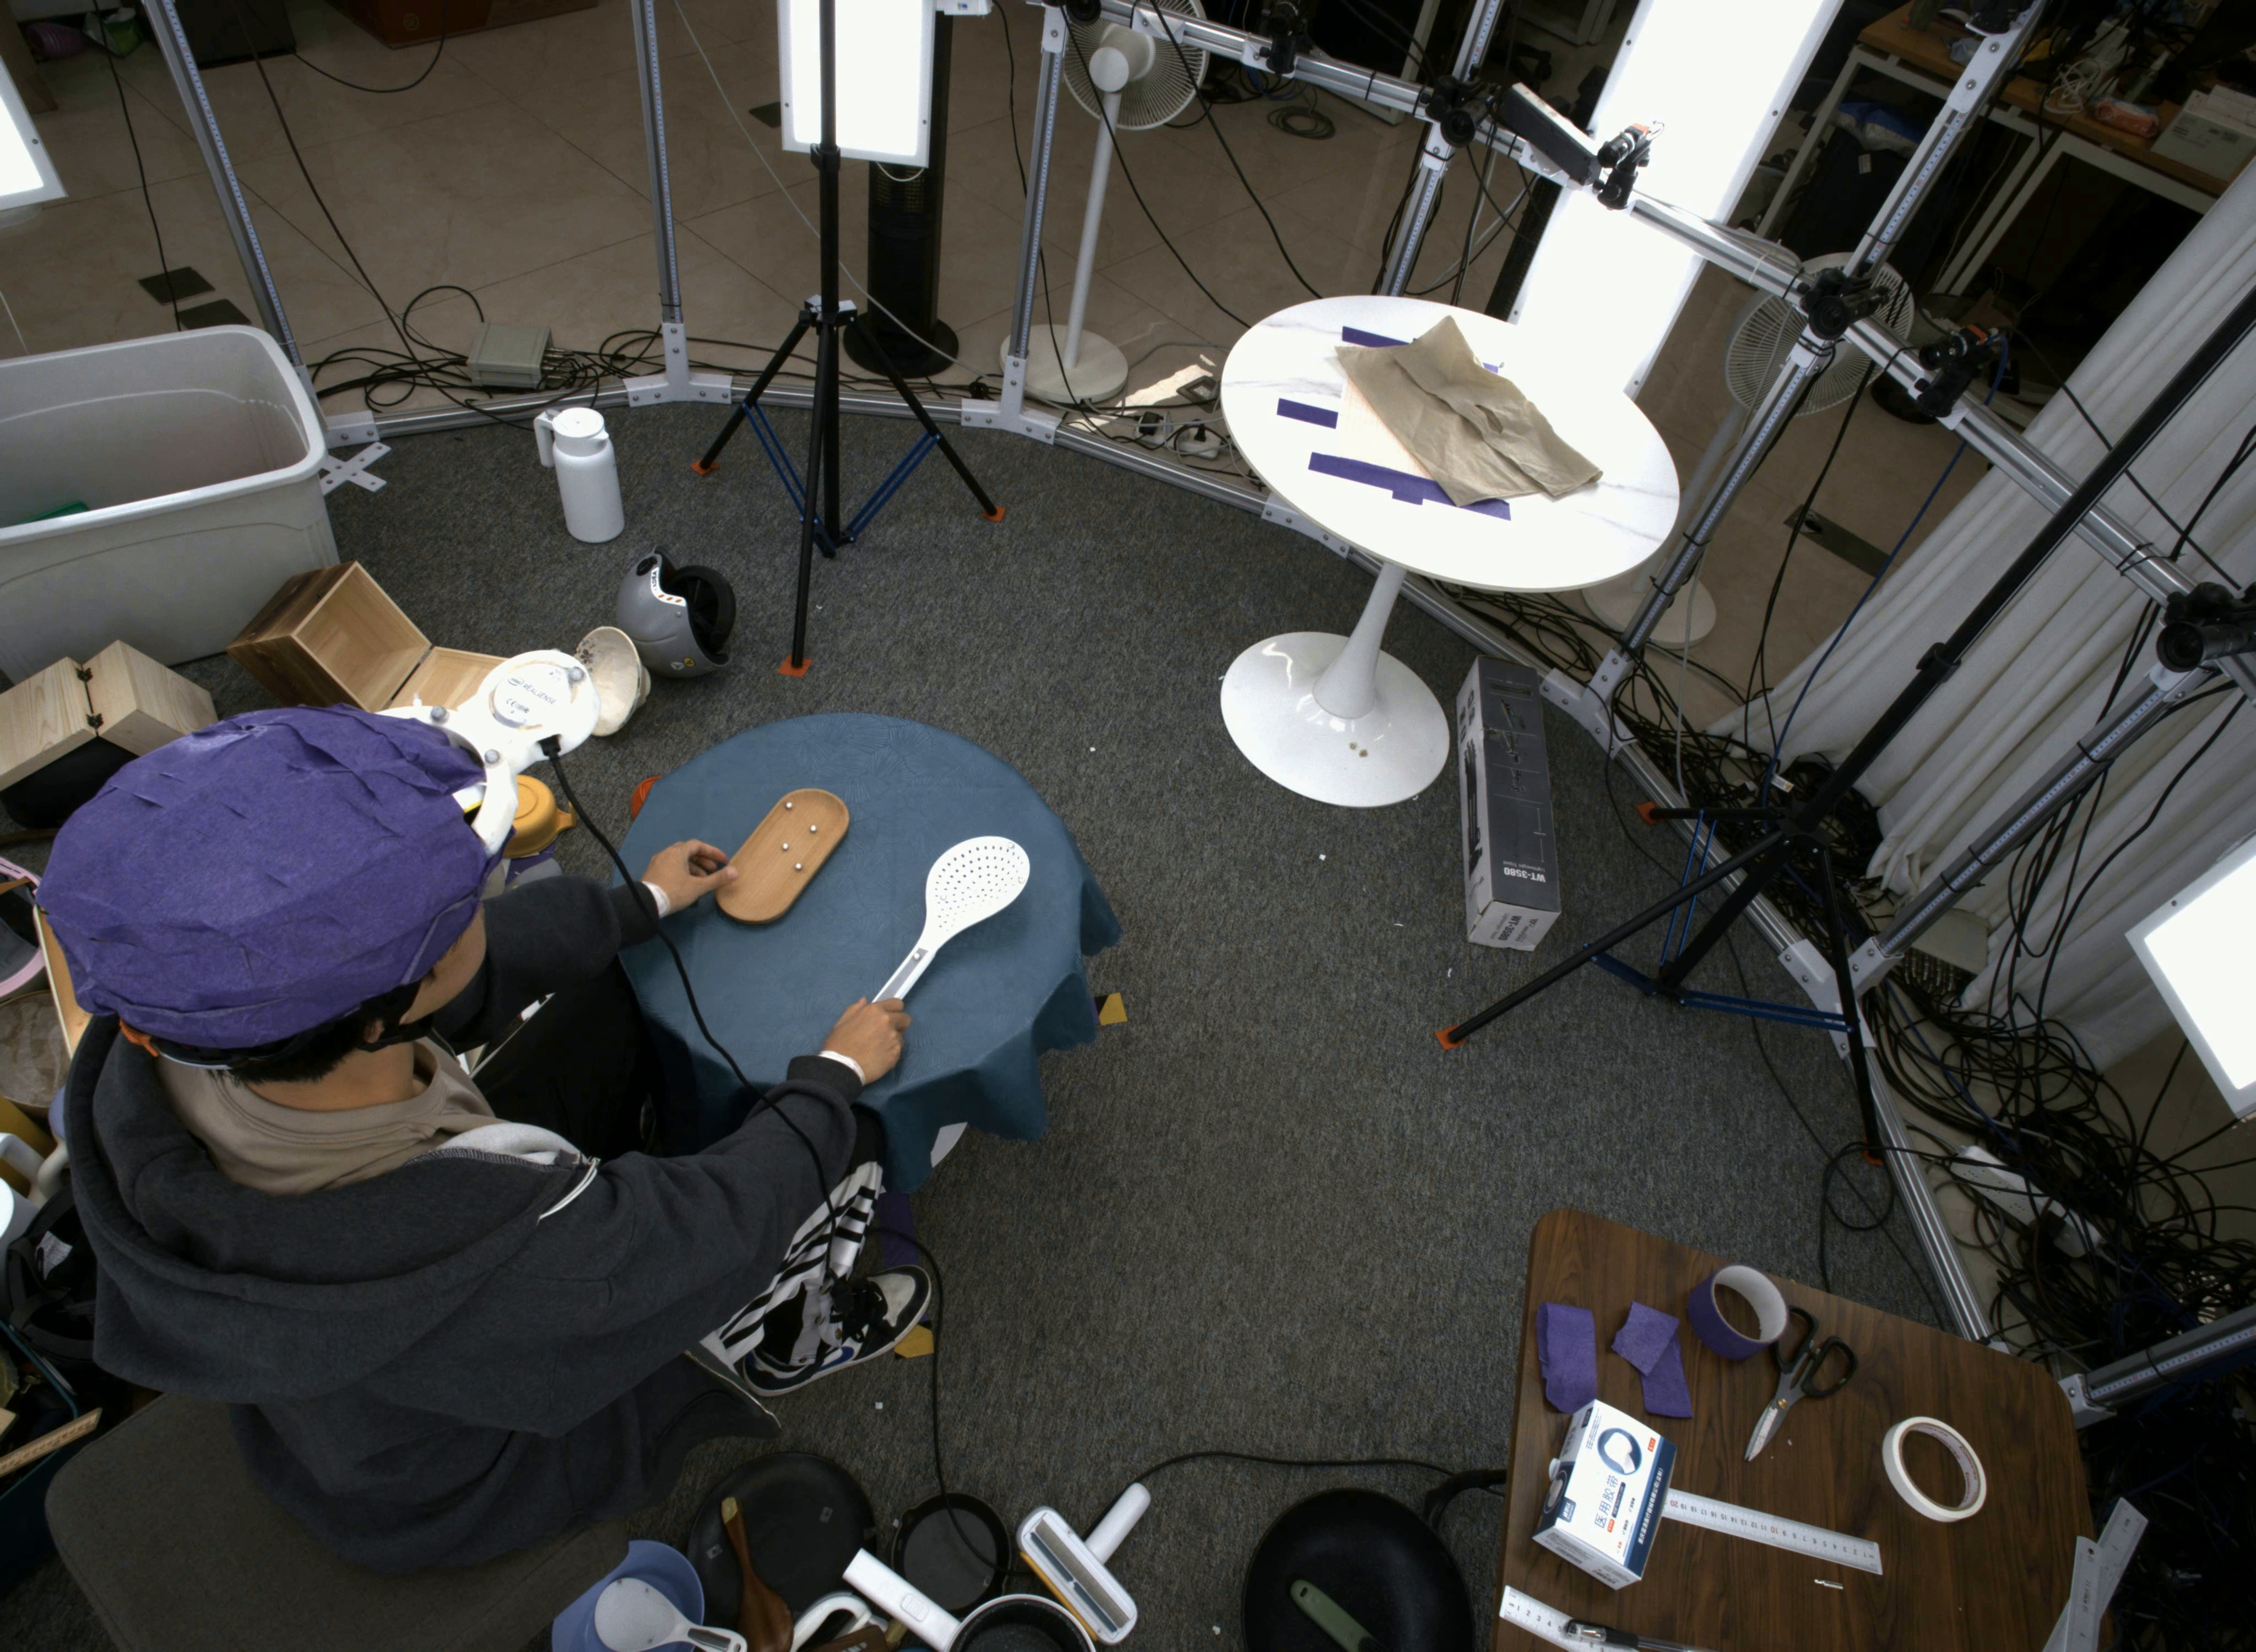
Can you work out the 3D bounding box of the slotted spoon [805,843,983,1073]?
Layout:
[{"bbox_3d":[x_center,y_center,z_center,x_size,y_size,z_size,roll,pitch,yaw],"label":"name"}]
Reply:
[{"bbox_3d":[-0.294,0.156,1.611,0.131,0.047,0.348,13,49,25],"label":"slotted spoon"}]

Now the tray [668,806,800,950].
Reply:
[{"bbox_3d":[-0.502,0.063,1.651,0.100,0.021,0.229,21,53,3],"label":"tray"}]
